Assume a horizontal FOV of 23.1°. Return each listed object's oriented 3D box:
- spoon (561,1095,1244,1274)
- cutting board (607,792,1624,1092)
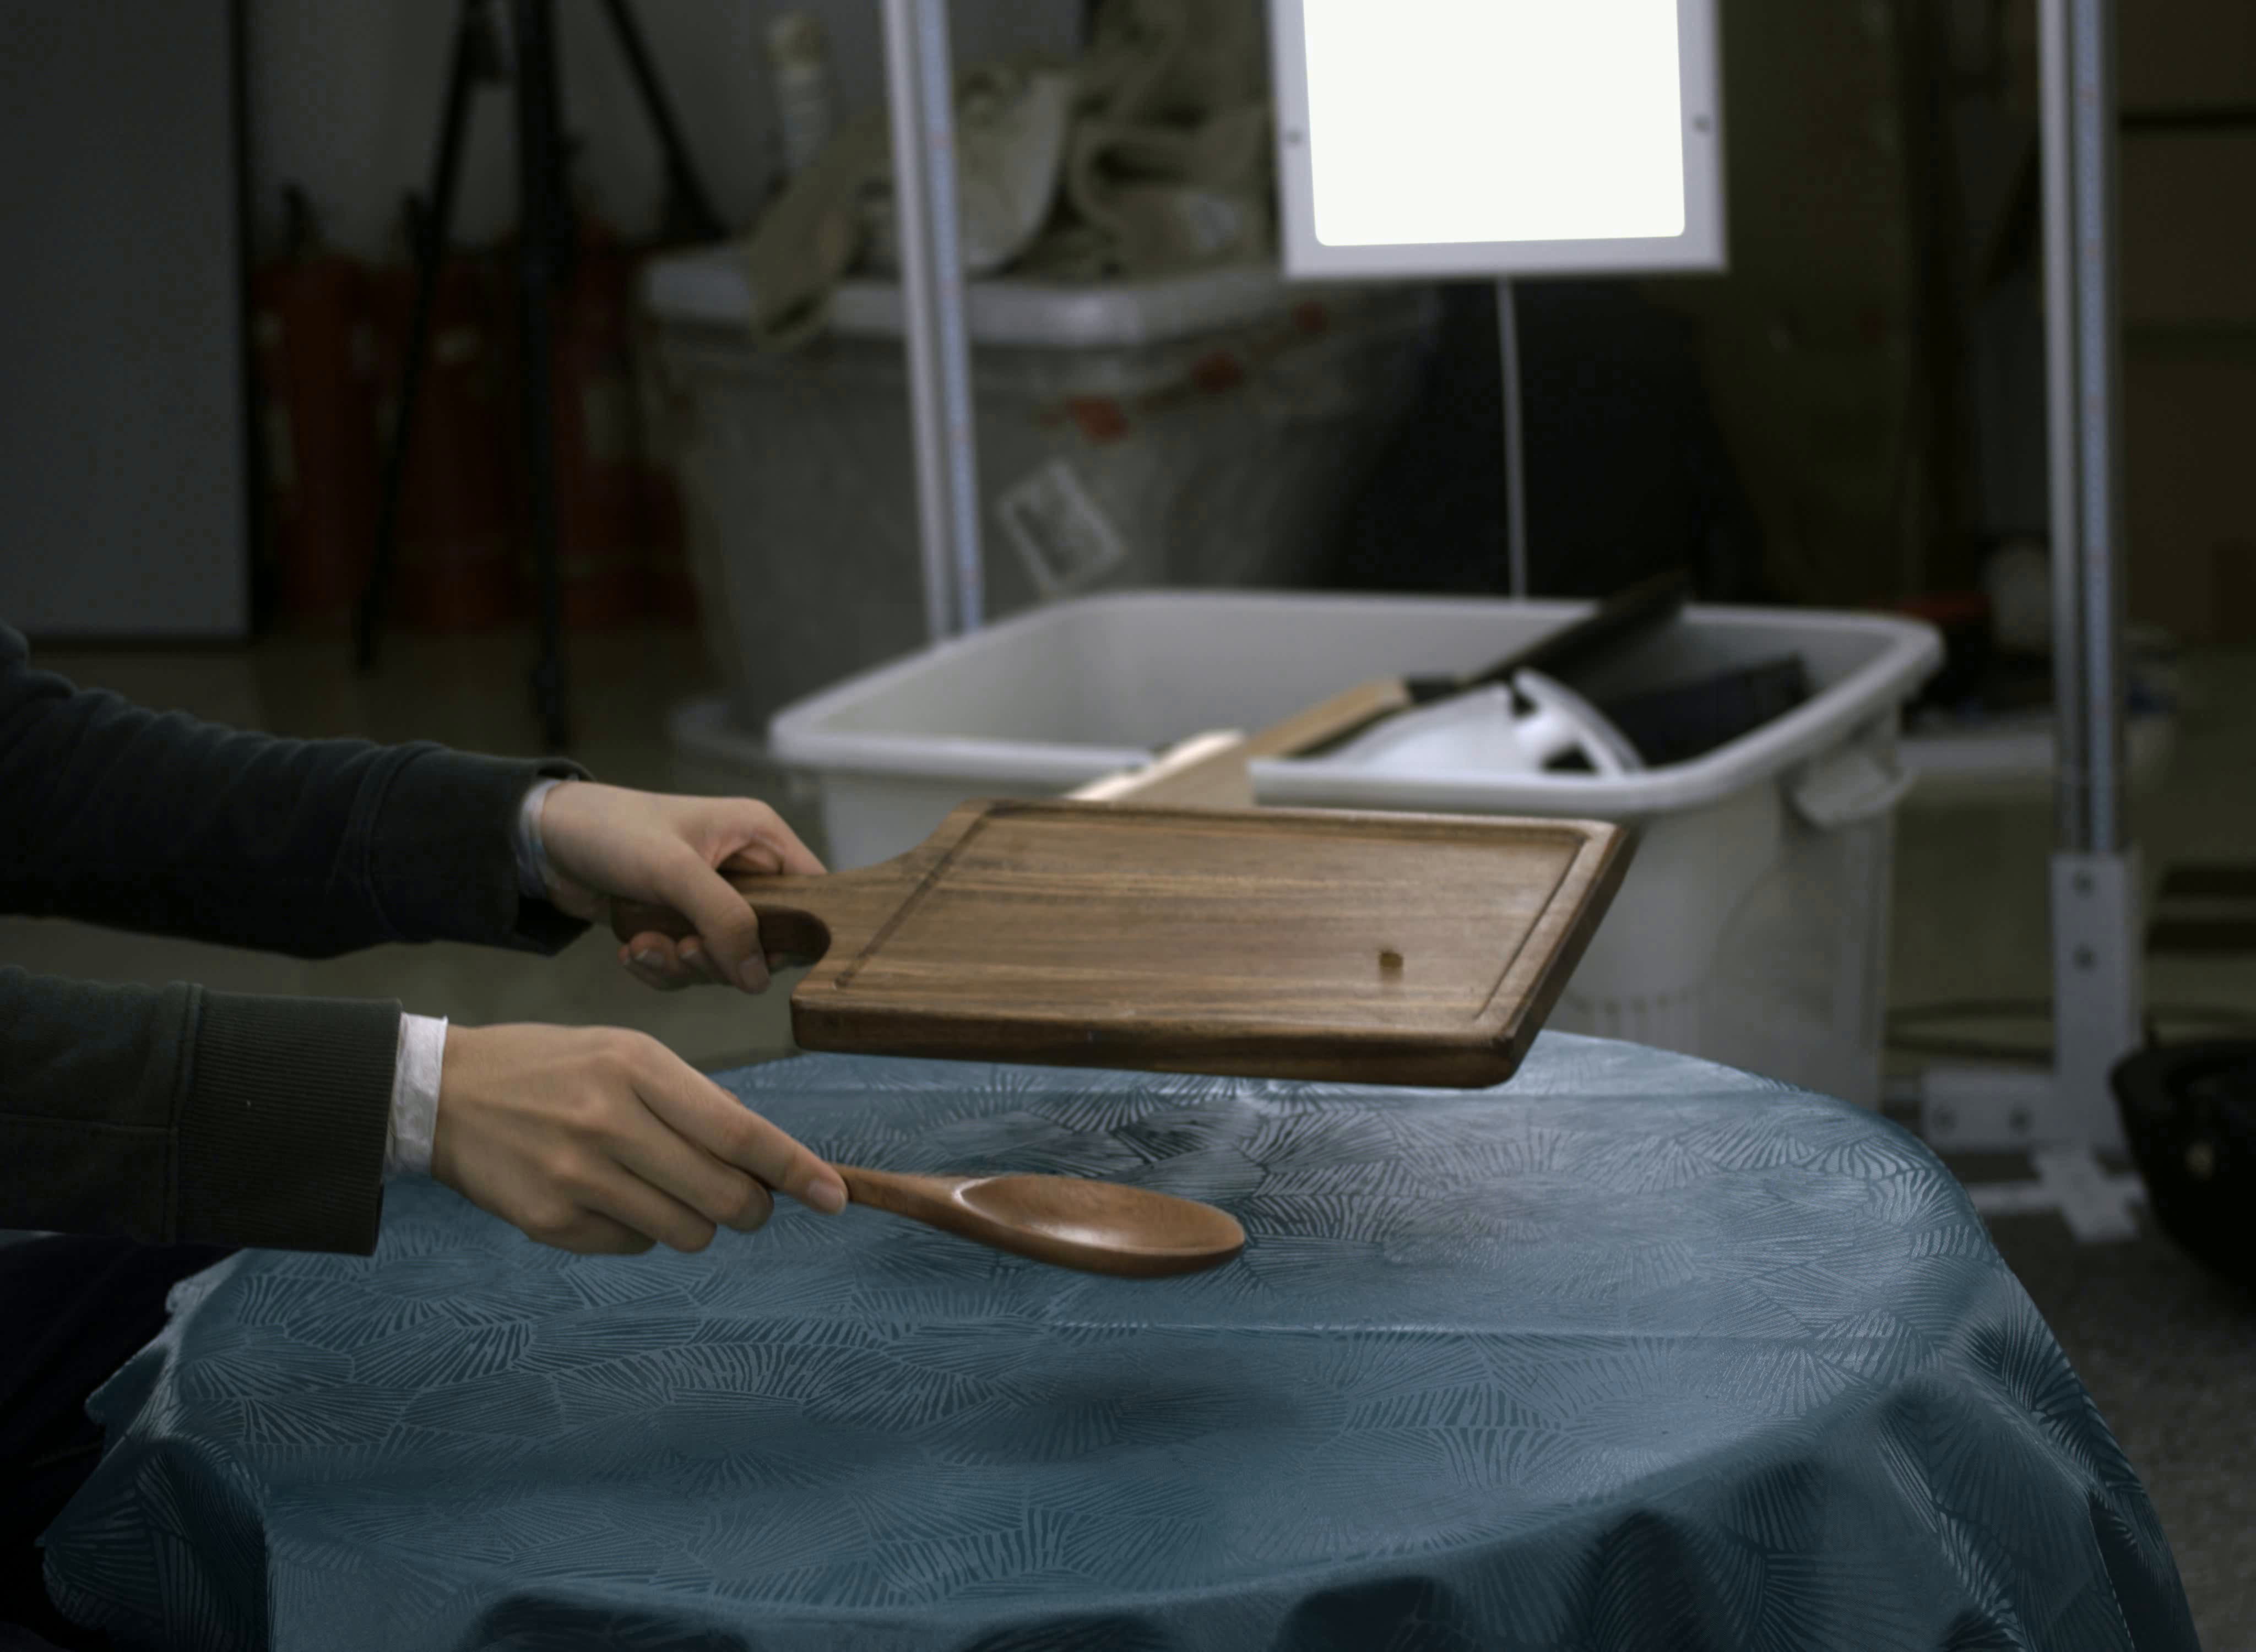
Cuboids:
[{"bbox_3d":[-0.070,0.110,1.695,0.217,0.017,0.074,11,15,10],"label":"spoon"},{"bbox_3d":[-0.016,0.035,1.911,0.356,0.023,0.198,2,24,19],"label":"cutting board"}]
